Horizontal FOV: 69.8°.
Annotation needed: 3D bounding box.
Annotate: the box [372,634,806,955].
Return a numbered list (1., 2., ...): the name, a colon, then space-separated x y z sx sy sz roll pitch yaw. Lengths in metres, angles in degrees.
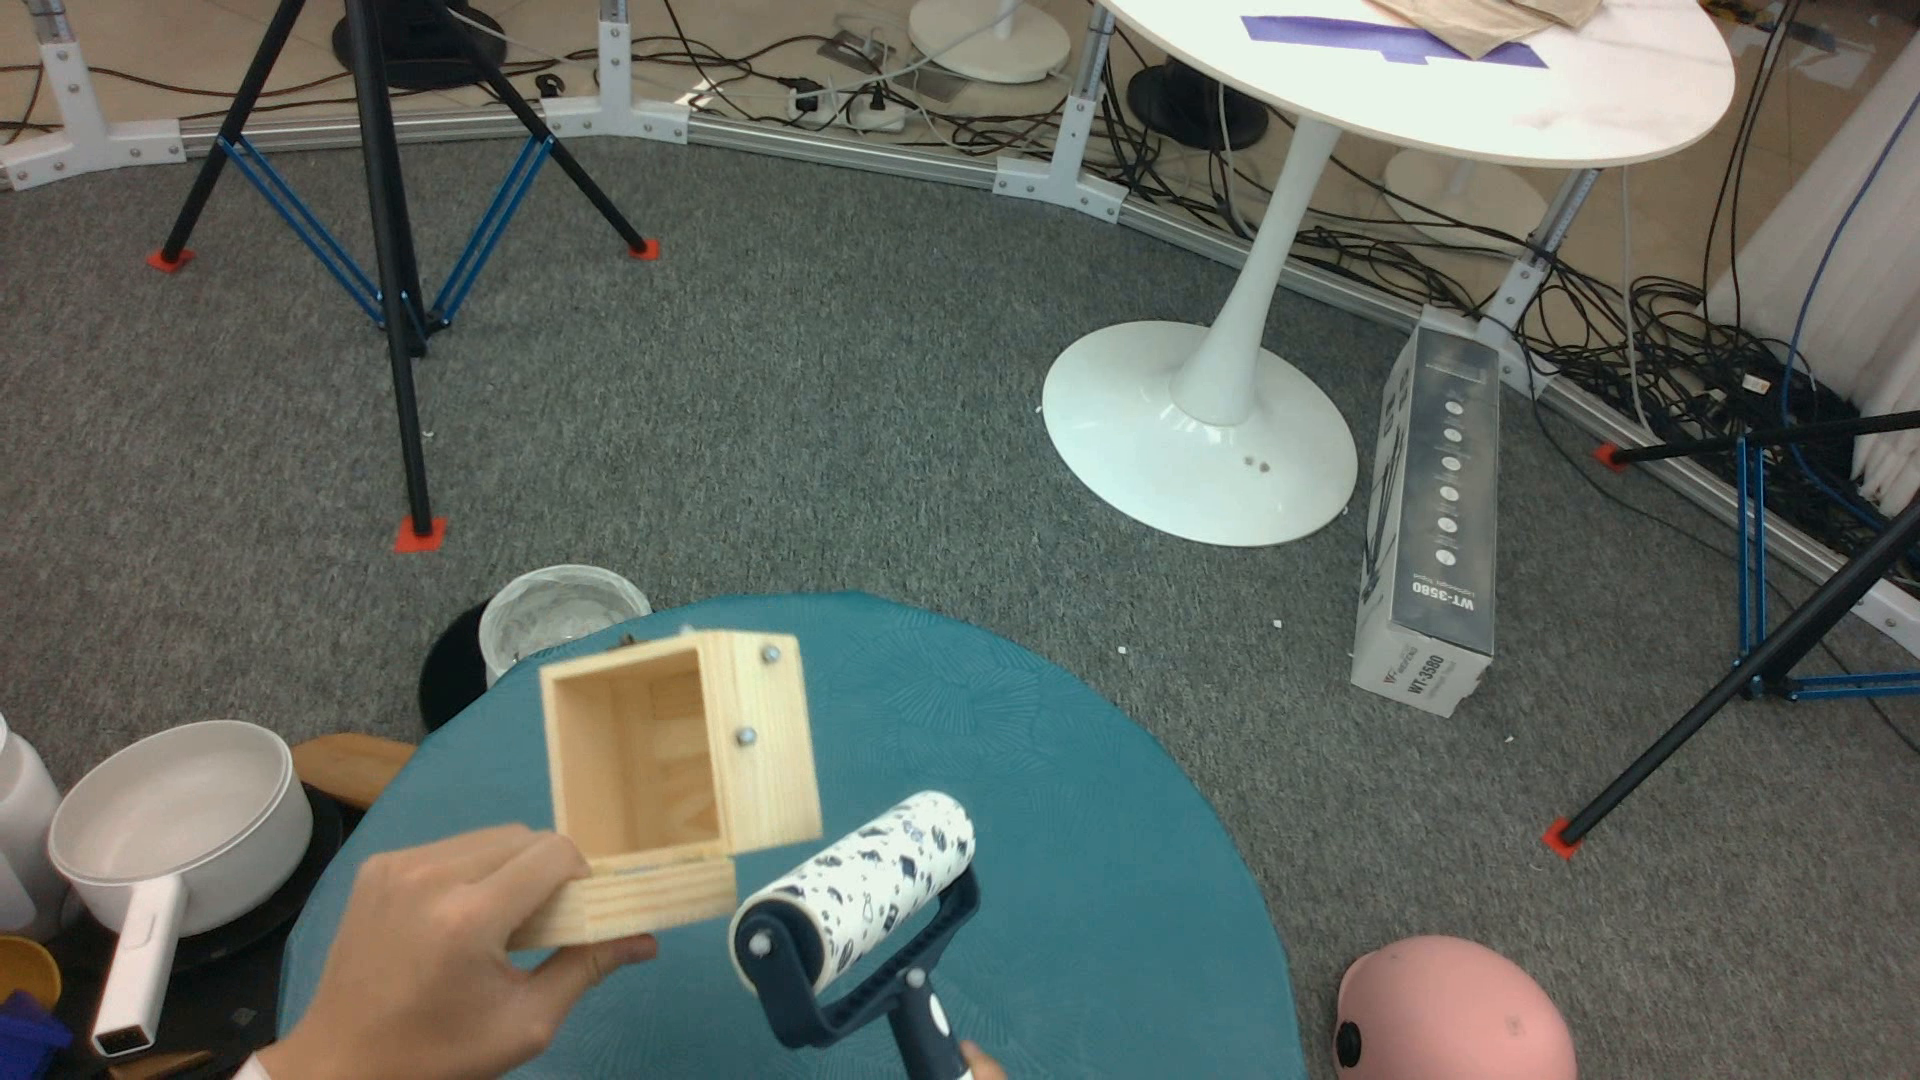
1. box: -0.164 0.110 0.632 0.102 0.184 0.134 -14 78 23

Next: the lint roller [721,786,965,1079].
1. lint roller: -0.008 0.243 0.616 0.247 0.050 0.177 65 20 4
